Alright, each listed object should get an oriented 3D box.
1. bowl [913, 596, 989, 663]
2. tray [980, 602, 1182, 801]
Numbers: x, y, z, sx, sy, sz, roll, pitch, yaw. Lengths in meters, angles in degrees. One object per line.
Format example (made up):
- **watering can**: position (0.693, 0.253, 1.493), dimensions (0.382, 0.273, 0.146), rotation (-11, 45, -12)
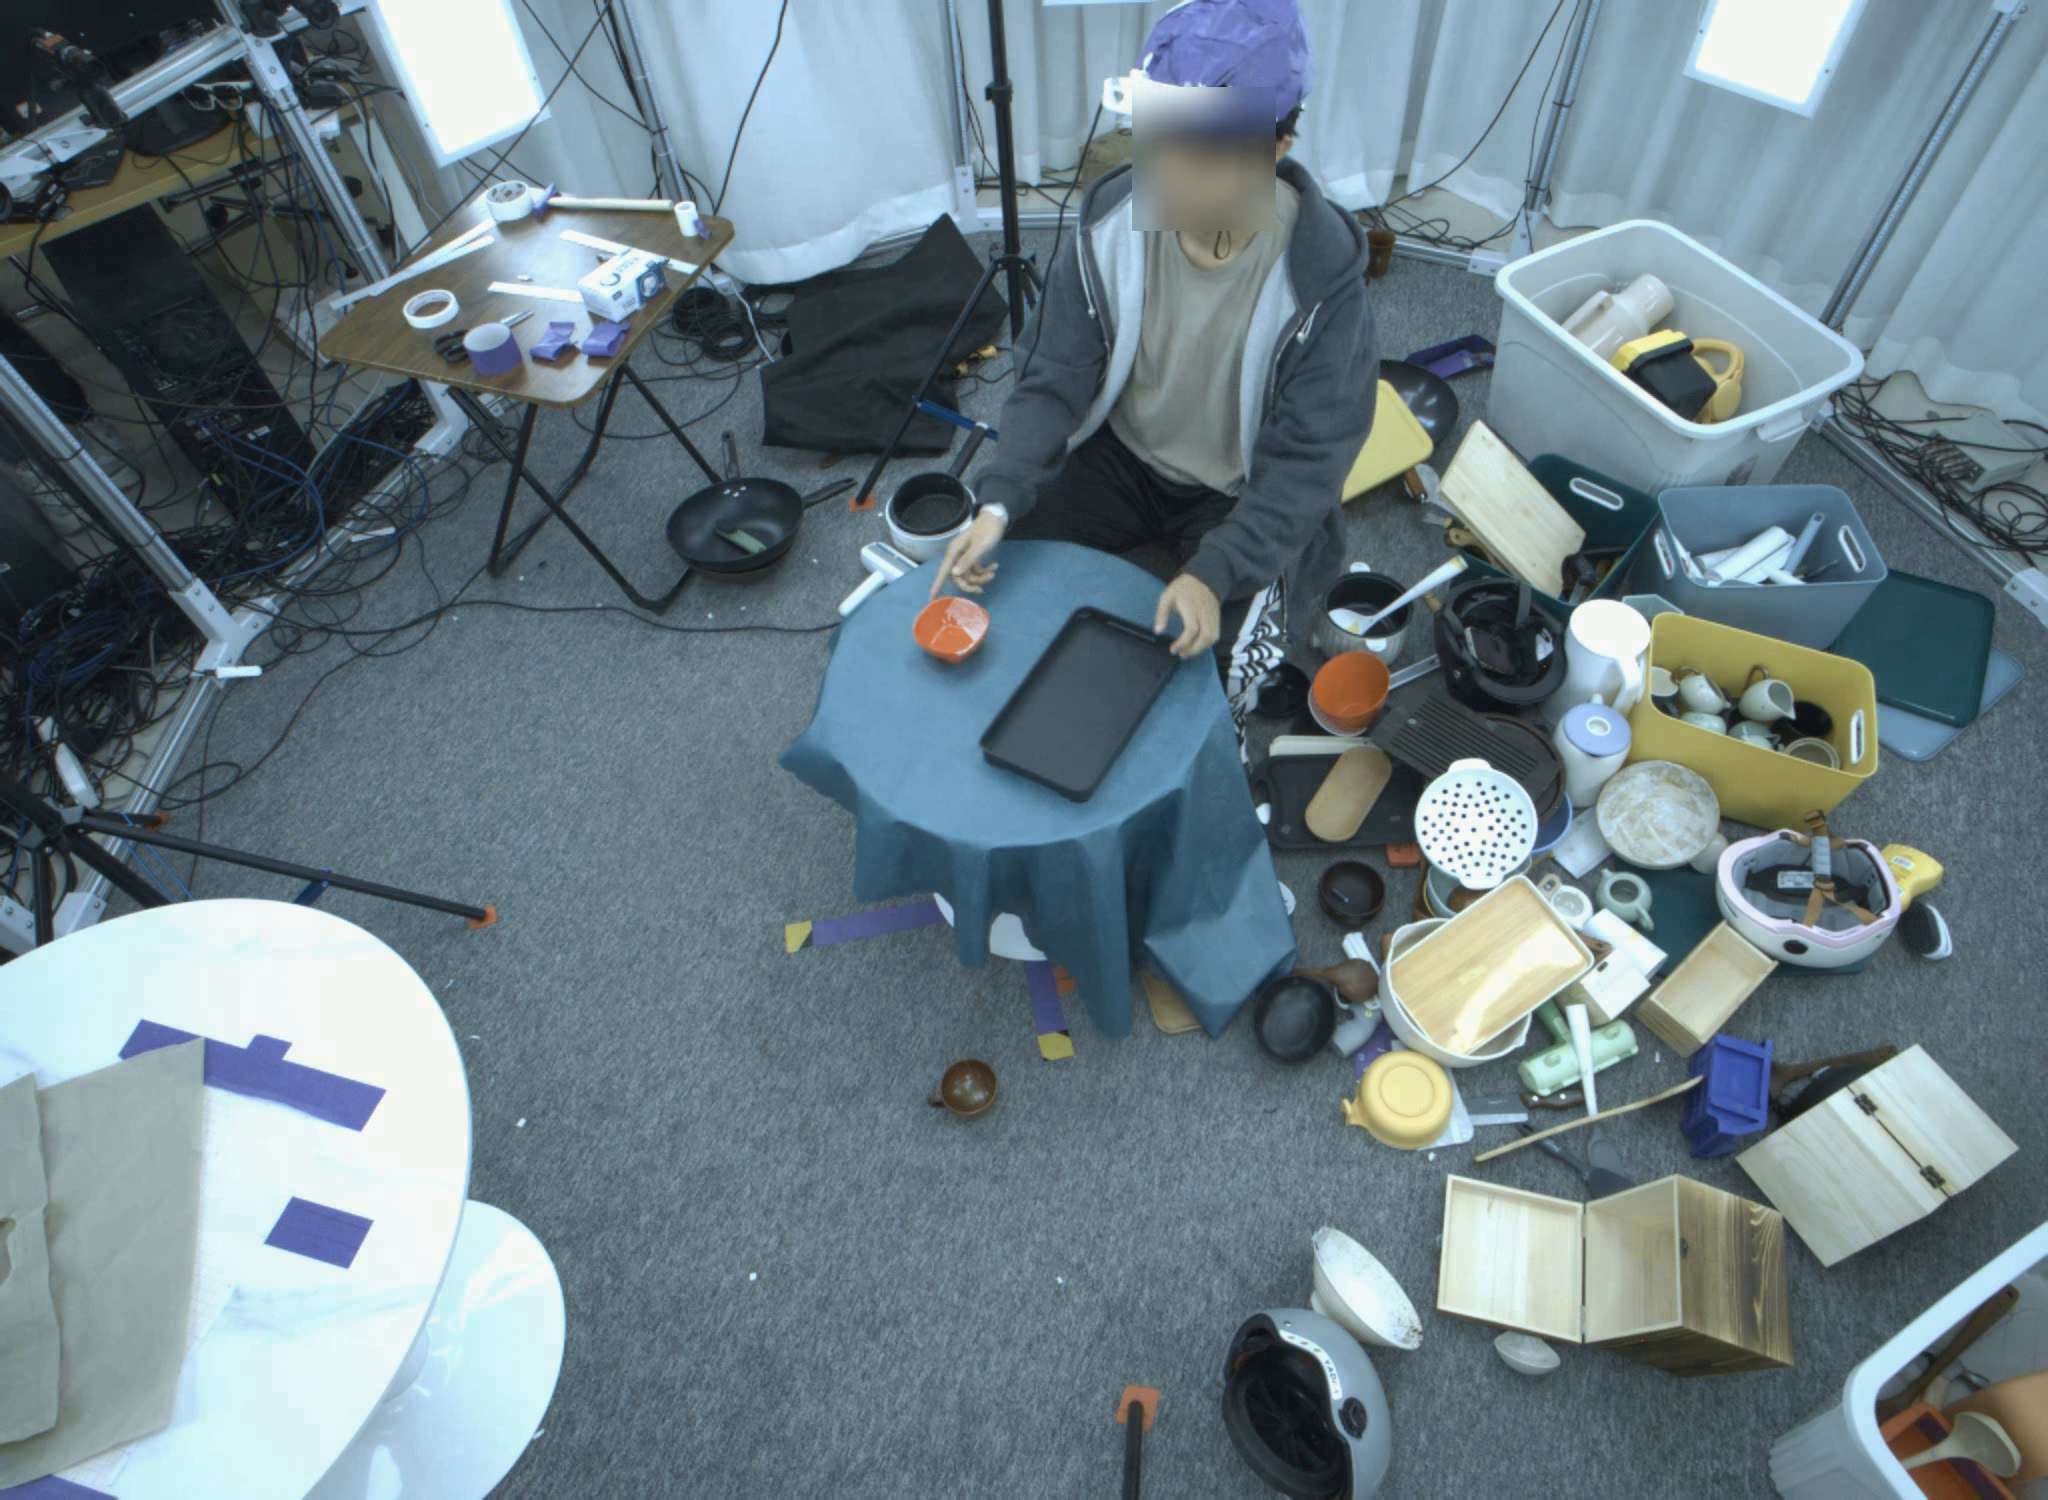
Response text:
- **bowl**: position (-0.110, -0.178, 1.886), dimensions (0.118, 0.052, 0.118), rotation (-2, 56, 3)
- **tray**: position (0.087, -0.077, 1.817), dimensions (0.182, 0.037, 0.319), rotation (24, 60, 18)
